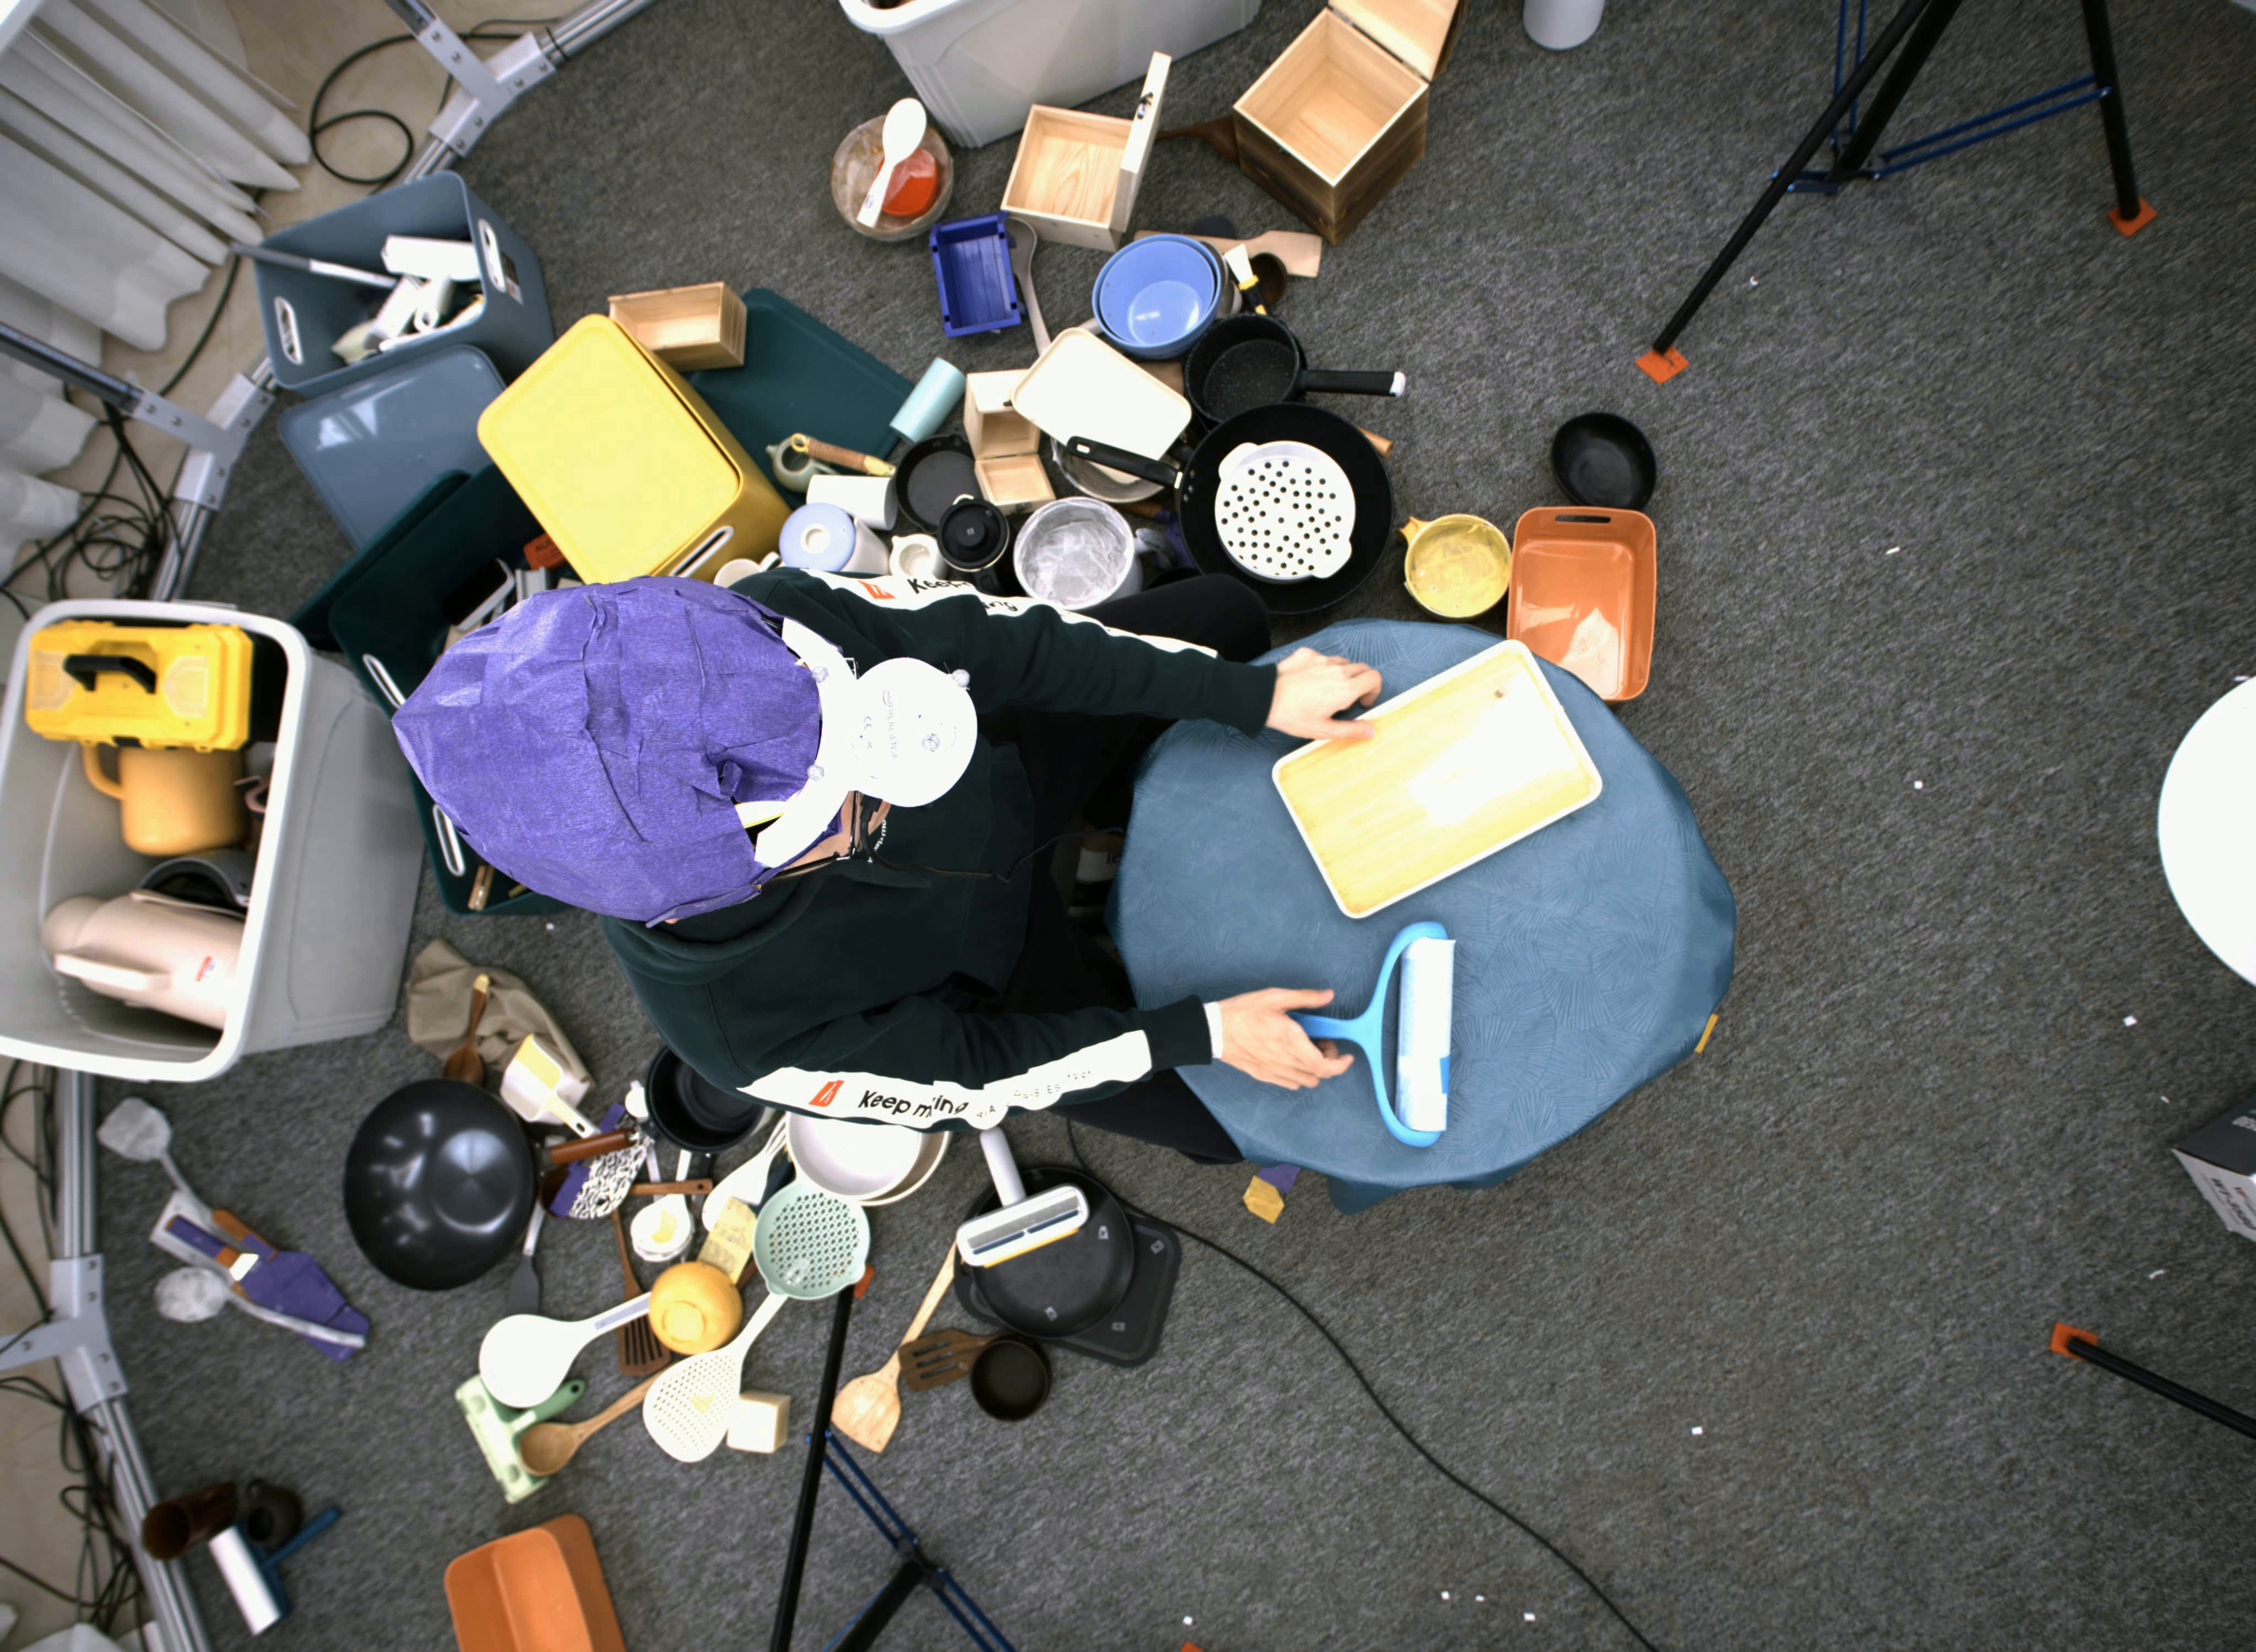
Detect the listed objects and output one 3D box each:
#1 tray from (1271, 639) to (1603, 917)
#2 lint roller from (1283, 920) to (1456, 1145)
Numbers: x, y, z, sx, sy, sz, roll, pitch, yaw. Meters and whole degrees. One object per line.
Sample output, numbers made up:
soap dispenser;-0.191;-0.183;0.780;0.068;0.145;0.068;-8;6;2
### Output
tray;0.320;-0.051;1.439;0.302;0.027;0.190;-27;83;8
lint roller;0.249;0.211;1.424;0.181;0.068;0.228;-2;89;9
